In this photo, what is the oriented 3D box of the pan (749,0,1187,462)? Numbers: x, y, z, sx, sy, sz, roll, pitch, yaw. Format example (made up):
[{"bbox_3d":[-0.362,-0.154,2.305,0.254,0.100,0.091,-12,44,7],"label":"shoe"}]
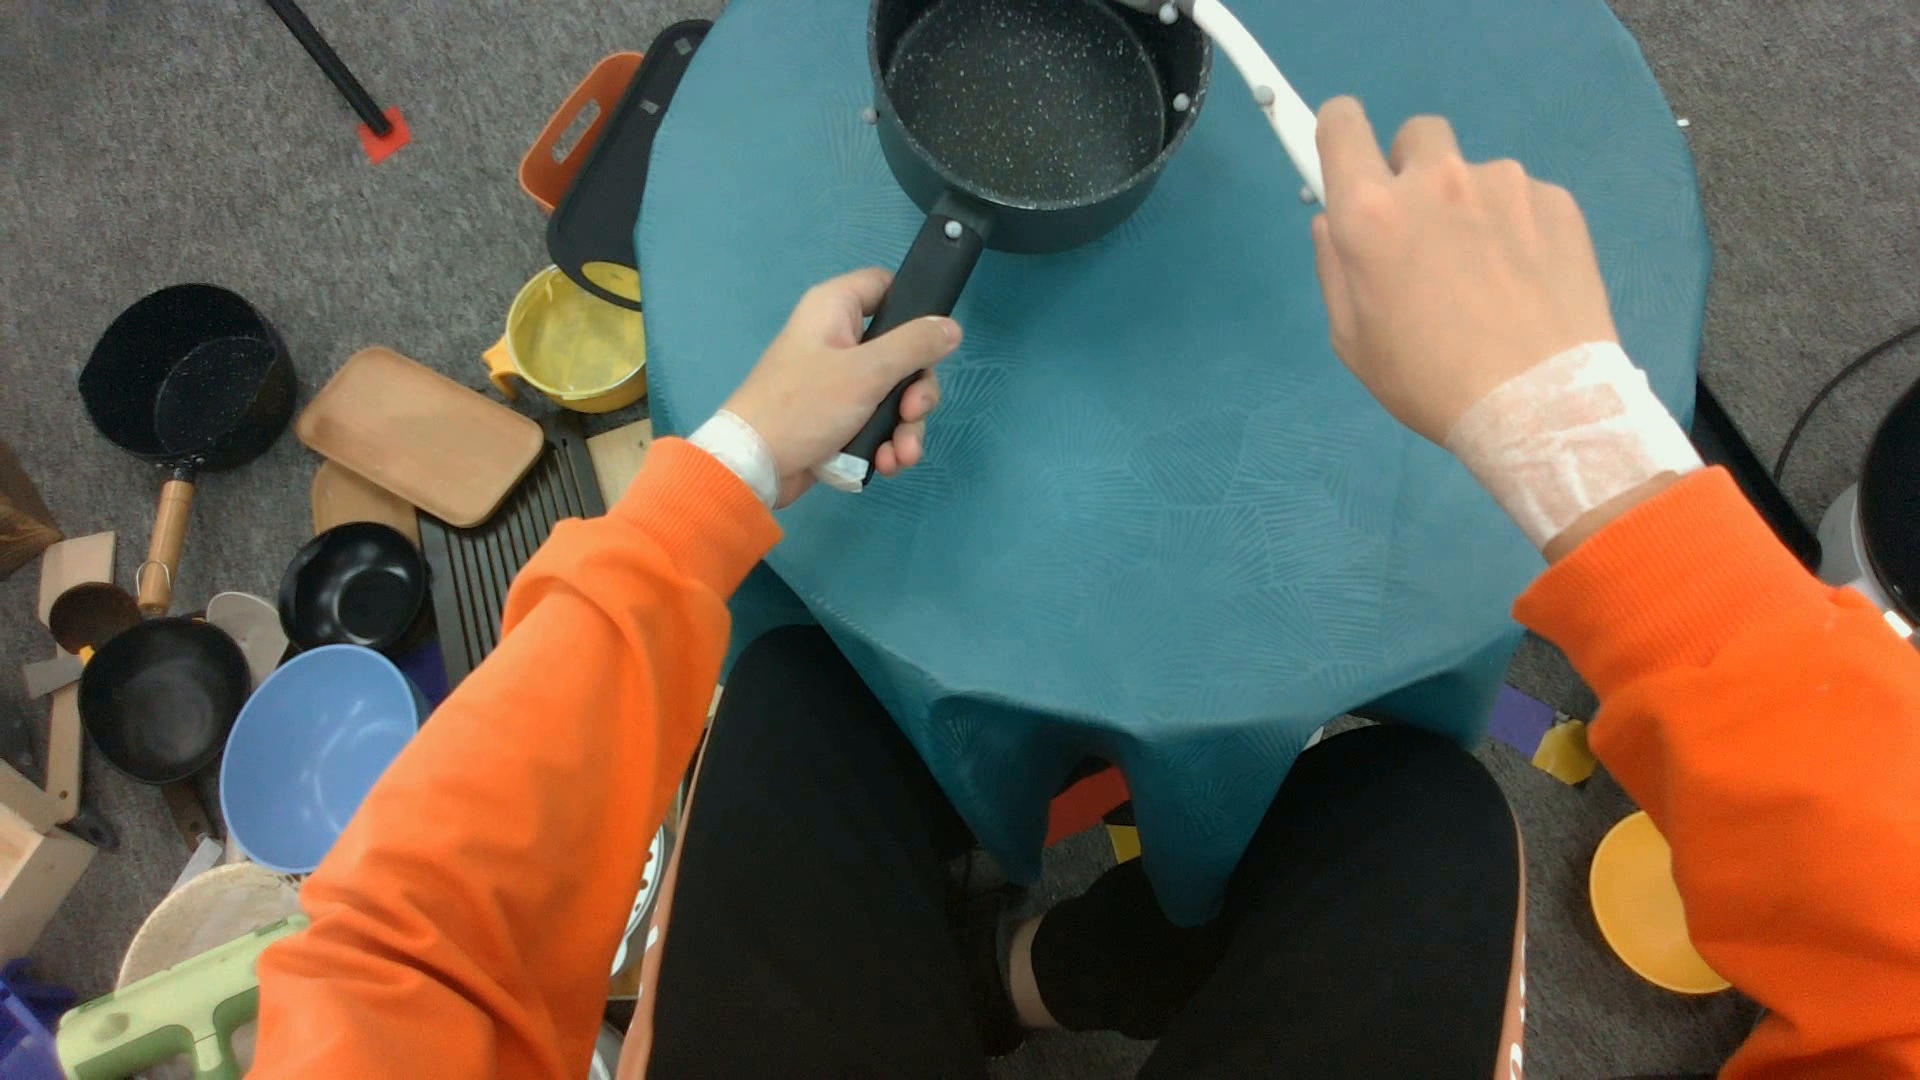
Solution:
[{"bbox_3d":[-0.010,-0.176,0.696,0.172,0.086,0.329,27,77,1],"label":"pan"}]

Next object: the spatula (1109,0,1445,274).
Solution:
[{"bbox_3d":[0.102,-0.211,0.590,0.032,0.058,0.288,-32,57,-3],"label":"spatula"}]
